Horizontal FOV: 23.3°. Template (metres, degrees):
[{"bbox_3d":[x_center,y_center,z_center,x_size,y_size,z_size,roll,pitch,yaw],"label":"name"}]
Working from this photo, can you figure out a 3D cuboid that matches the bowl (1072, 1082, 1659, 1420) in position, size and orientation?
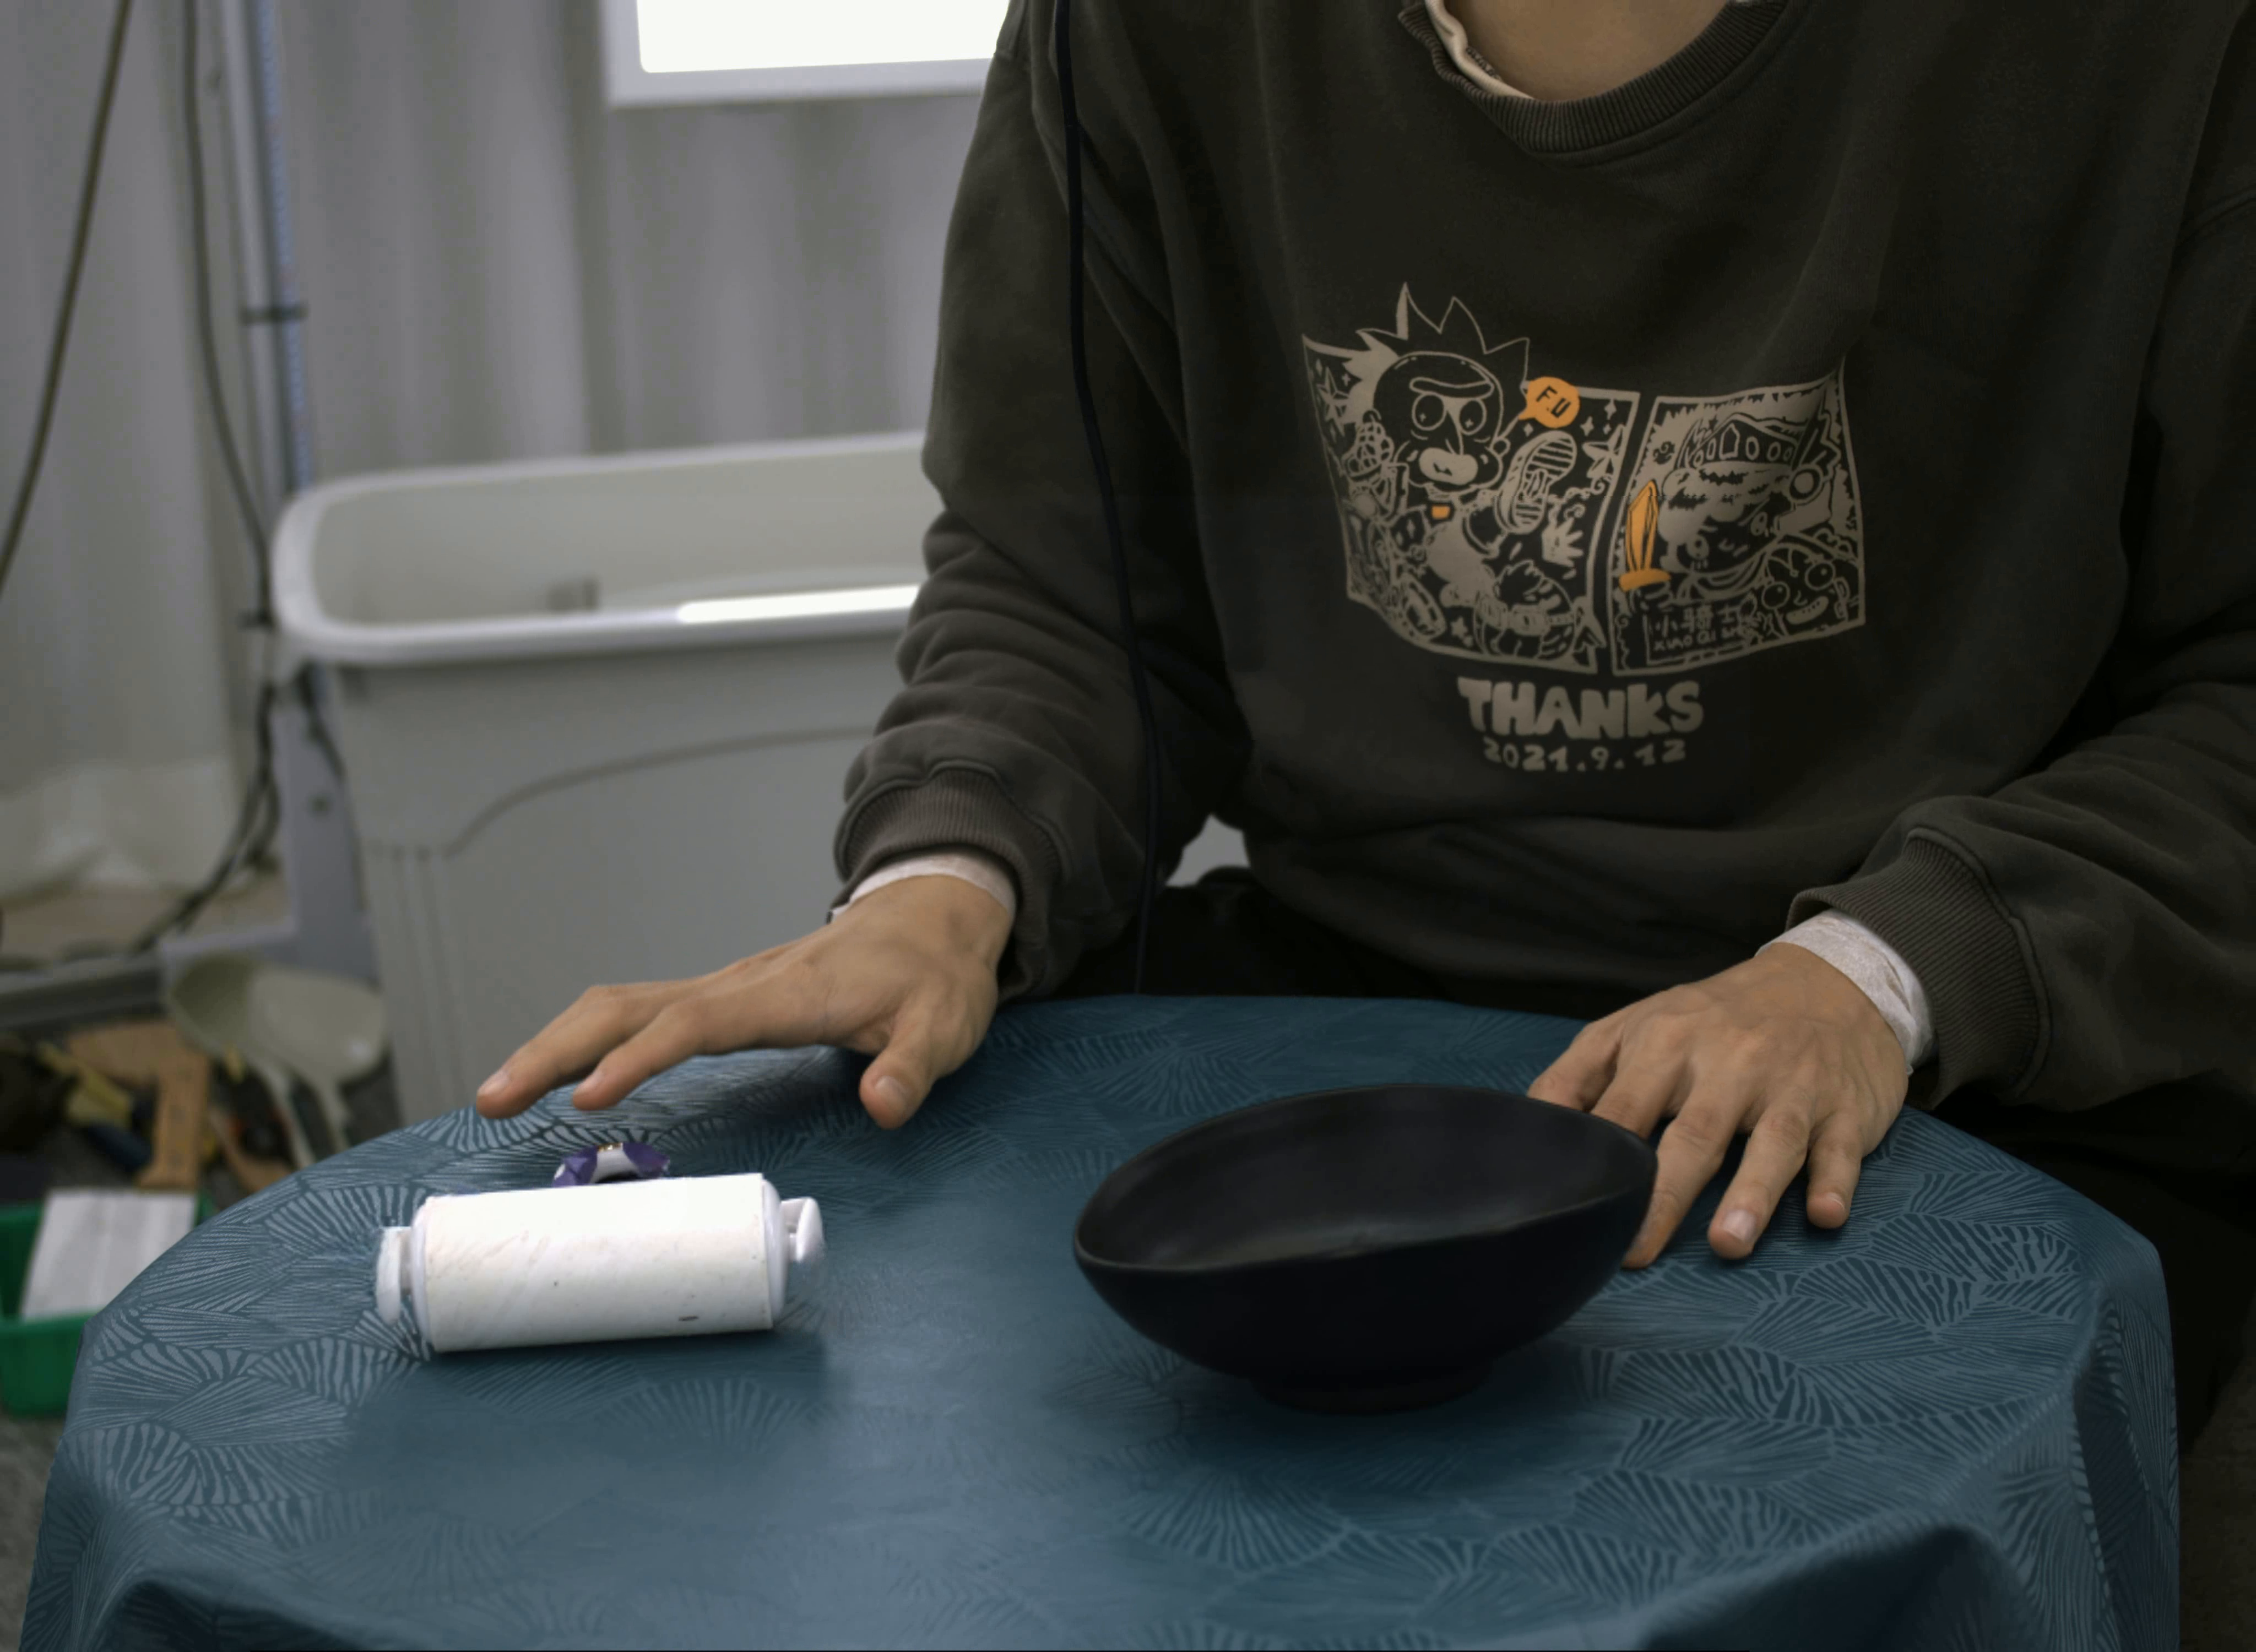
[{"bbox_3d":[0.070,0.126,1.546,0.169,0.066,0.138,-9,15,-17],"label":"bowl"}]

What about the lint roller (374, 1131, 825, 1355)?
[{"bbox_3d":[-0.158,0.111,1.675,0.132,0.050,0.182,-4,18,-1],"label":"lint roller"}]
